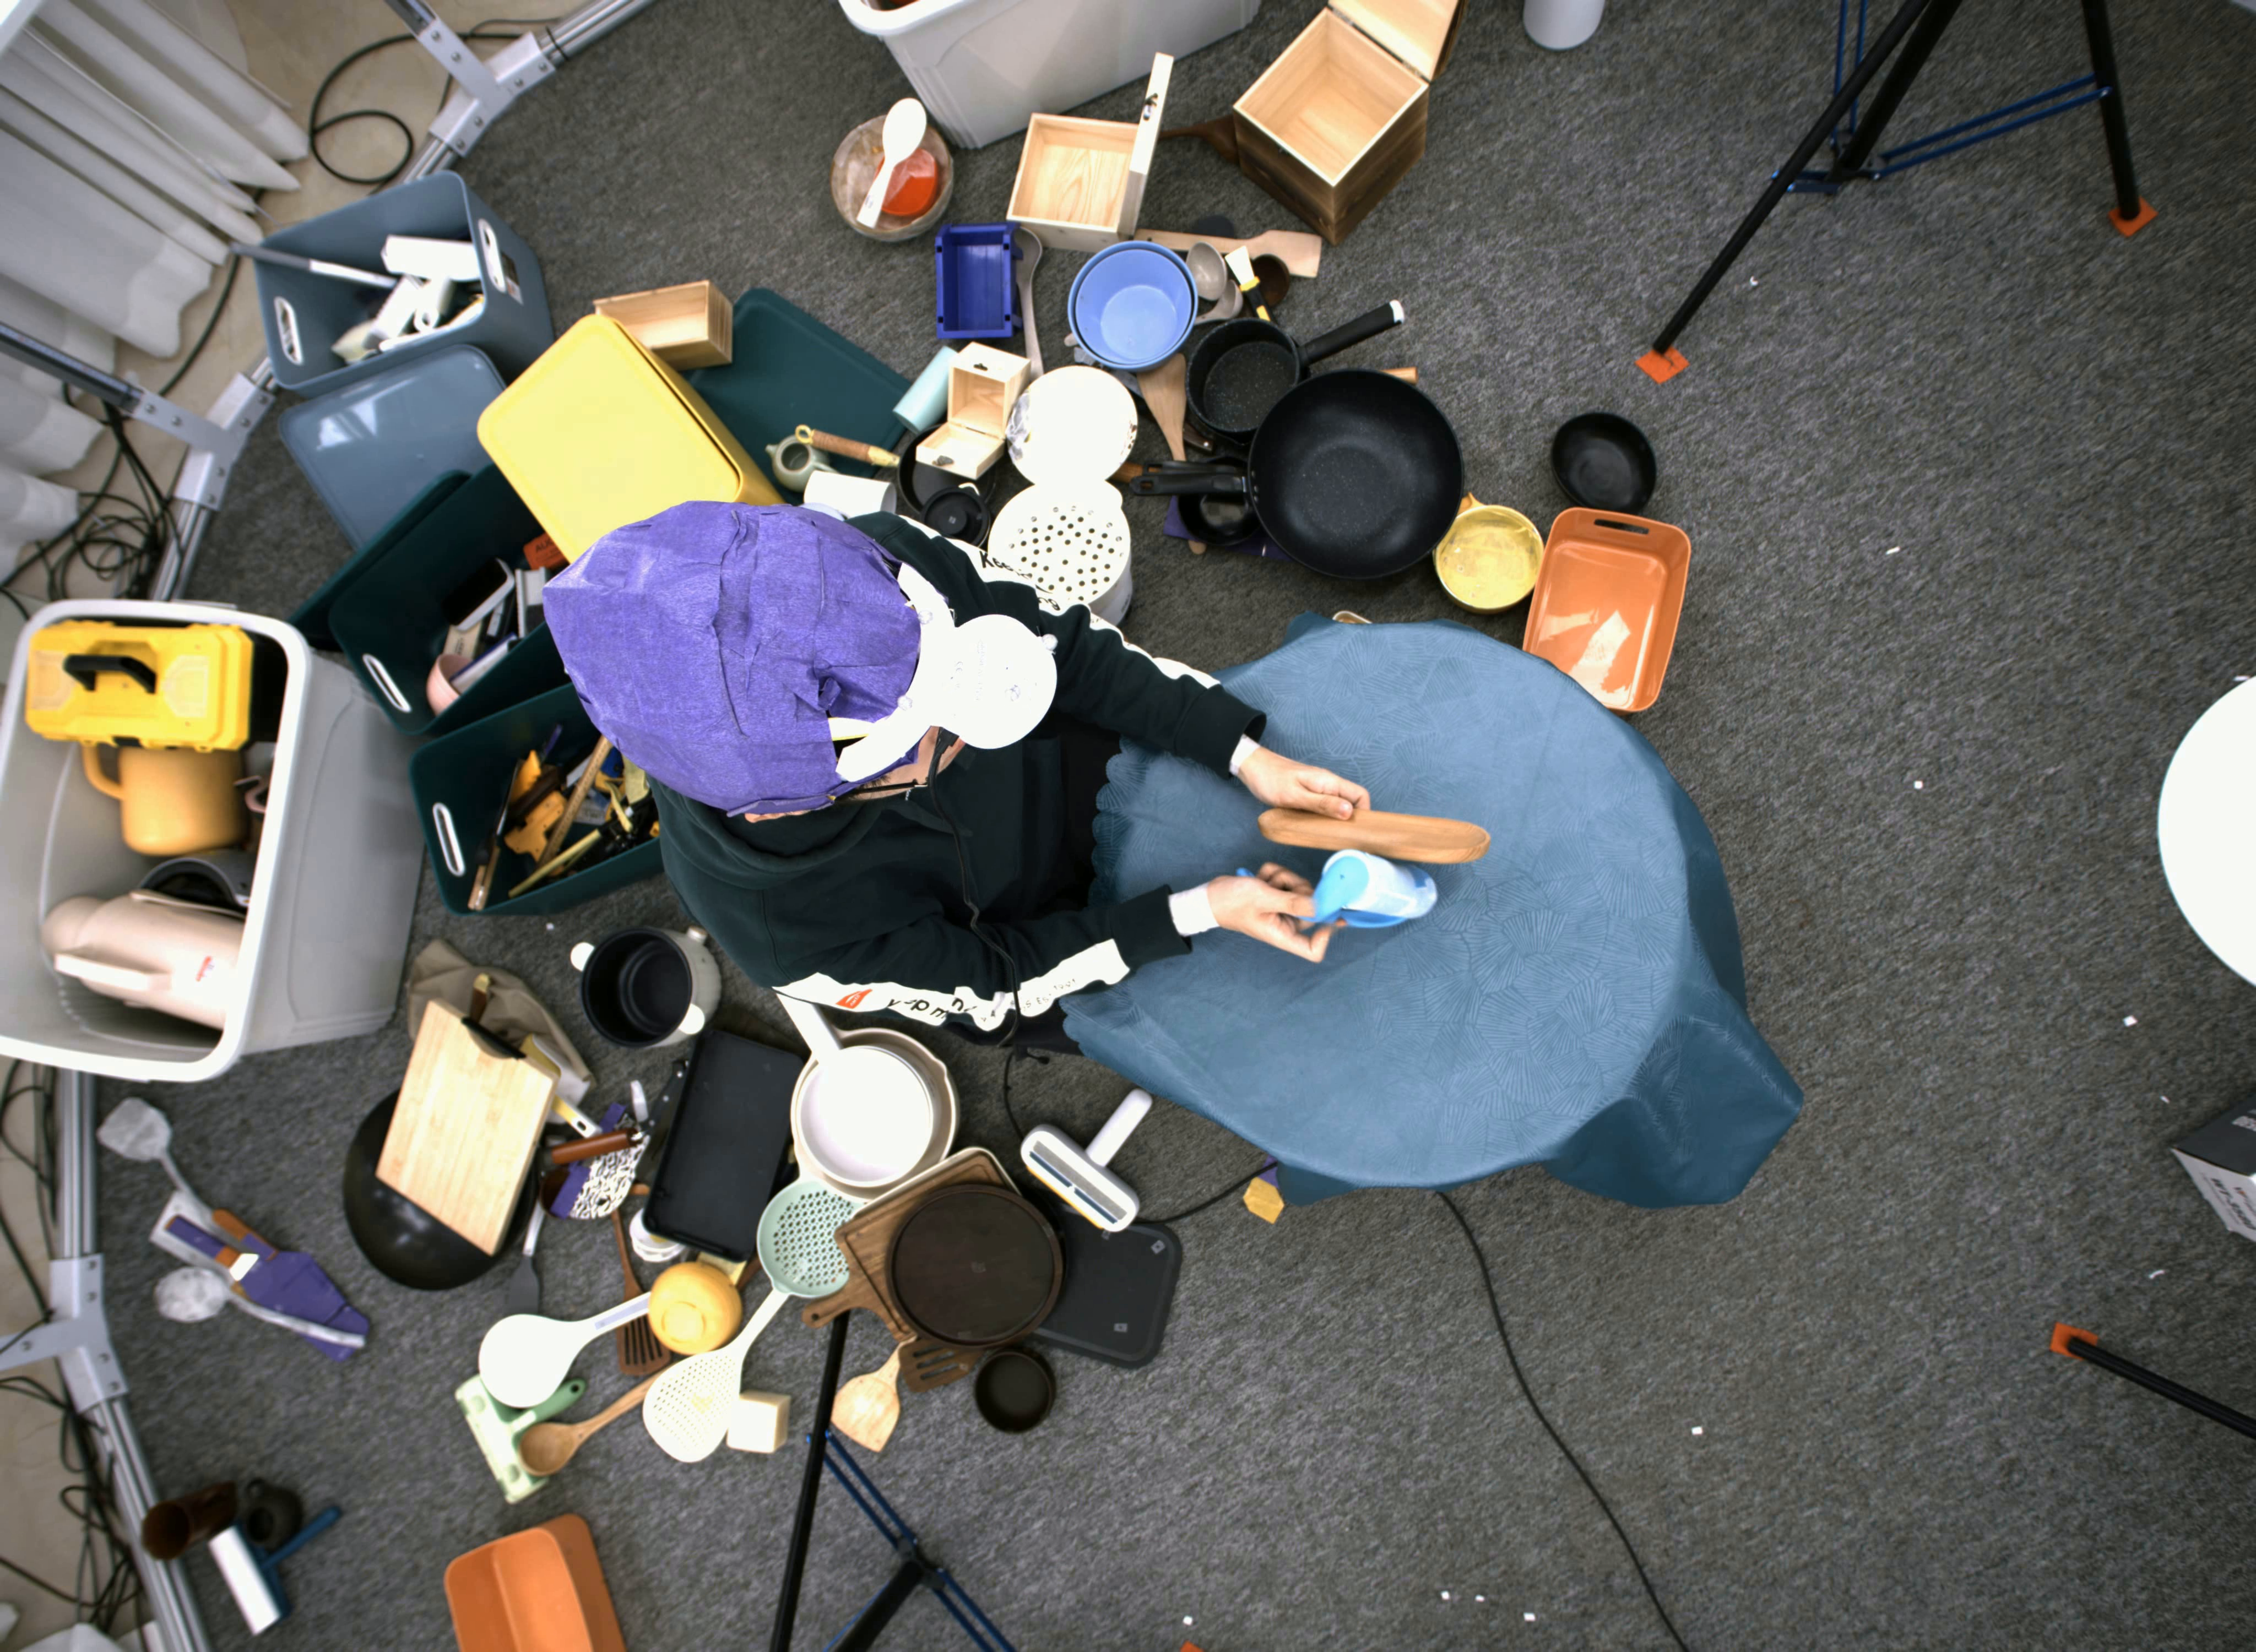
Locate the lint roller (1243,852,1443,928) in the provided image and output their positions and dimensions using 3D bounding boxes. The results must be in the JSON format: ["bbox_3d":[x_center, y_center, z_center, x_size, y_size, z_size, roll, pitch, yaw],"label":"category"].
[{"bbox_3d":[0.198,0.065,1.358,0.182,0.228,0.067,-6,82,31],"label":"lint roller"}]

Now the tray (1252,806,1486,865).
[{"bbox_3d":[0.233,0.008,1.347,0.232,0.100,0.020,5,108,26],"label":"tray"}]
